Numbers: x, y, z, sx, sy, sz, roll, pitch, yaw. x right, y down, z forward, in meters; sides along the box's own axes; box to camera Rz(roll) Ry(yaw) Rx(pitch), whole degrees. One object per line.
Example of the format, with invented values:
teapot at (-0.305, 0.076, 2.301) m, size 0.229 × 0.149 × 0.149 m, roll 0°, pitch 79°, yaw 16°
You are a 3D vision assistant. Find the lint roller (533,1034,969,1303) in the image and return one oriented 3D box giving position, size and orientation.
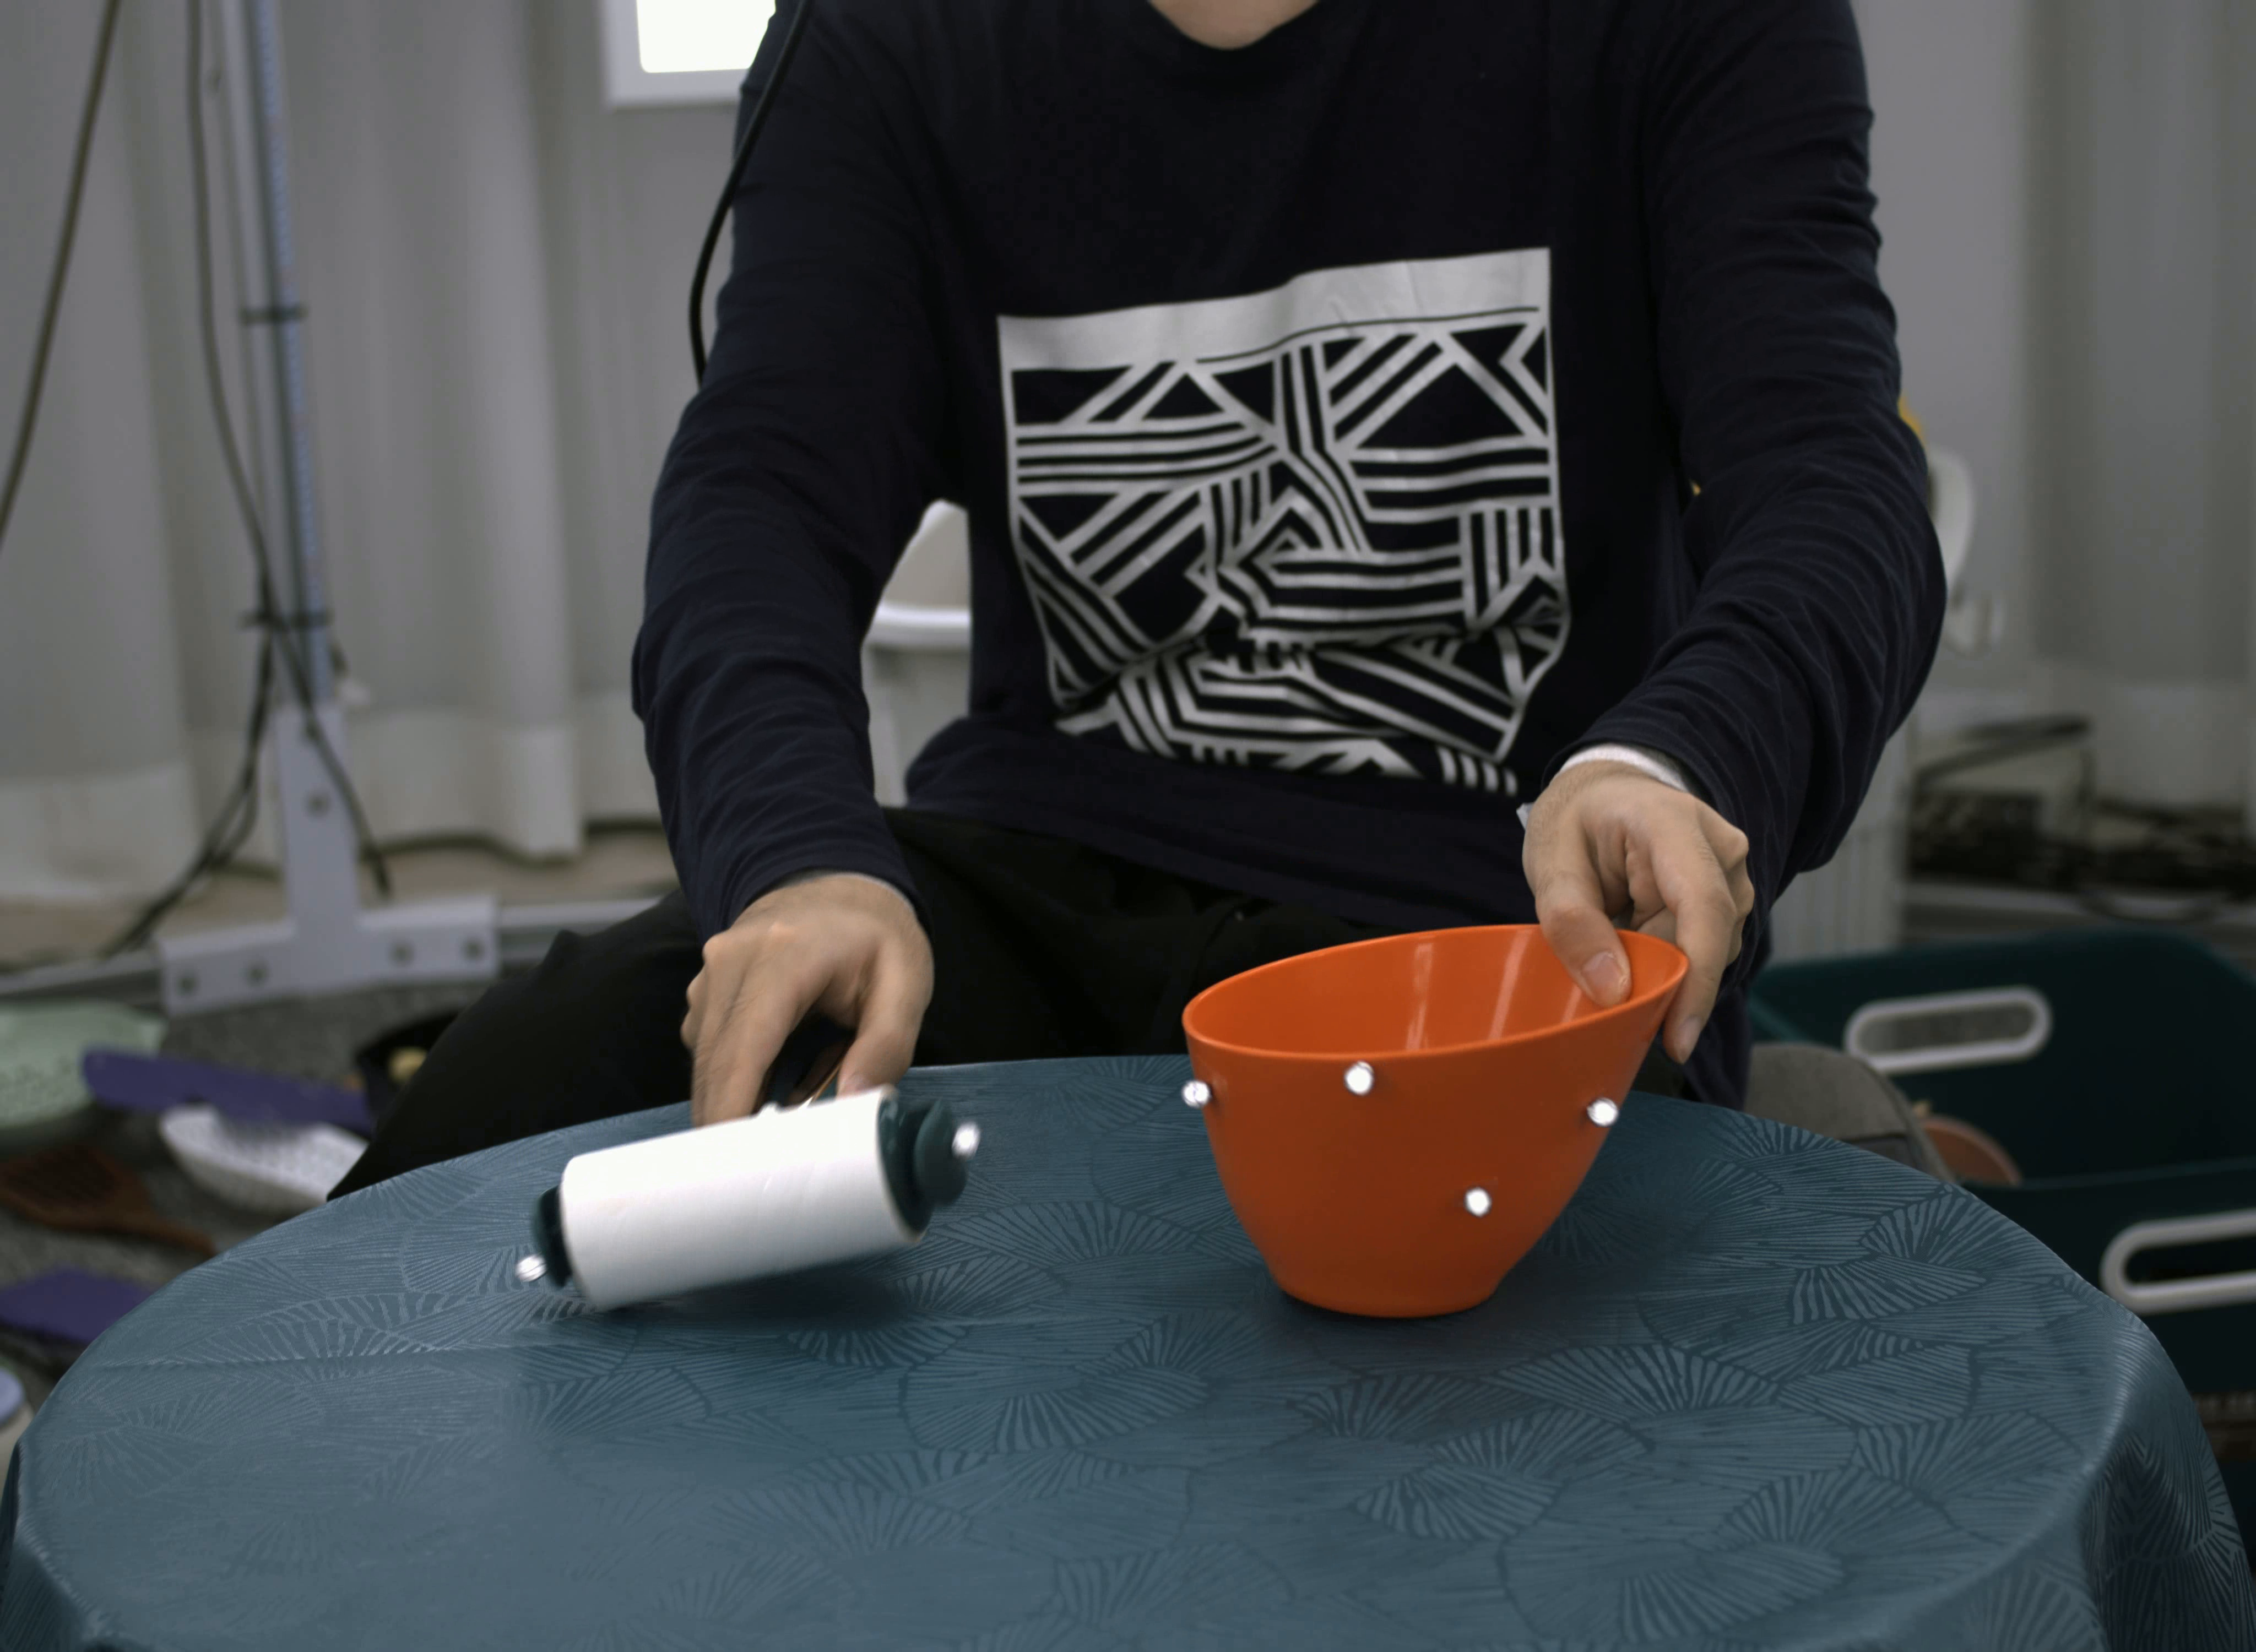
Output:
lint roller at (-0.104, 0.084, 1.684) m, size 0.134 × 0.048 × 0.181 m, roll -14°, pitch 19°, yaw 12°

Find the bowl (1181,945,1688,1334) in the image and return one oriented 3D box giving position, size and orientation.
bowl at (0.087, 0.091, 1.604) m, size 0.147 × 0.104 × 0.149 m, roll 2°, pitch 13°, yaw -1°
